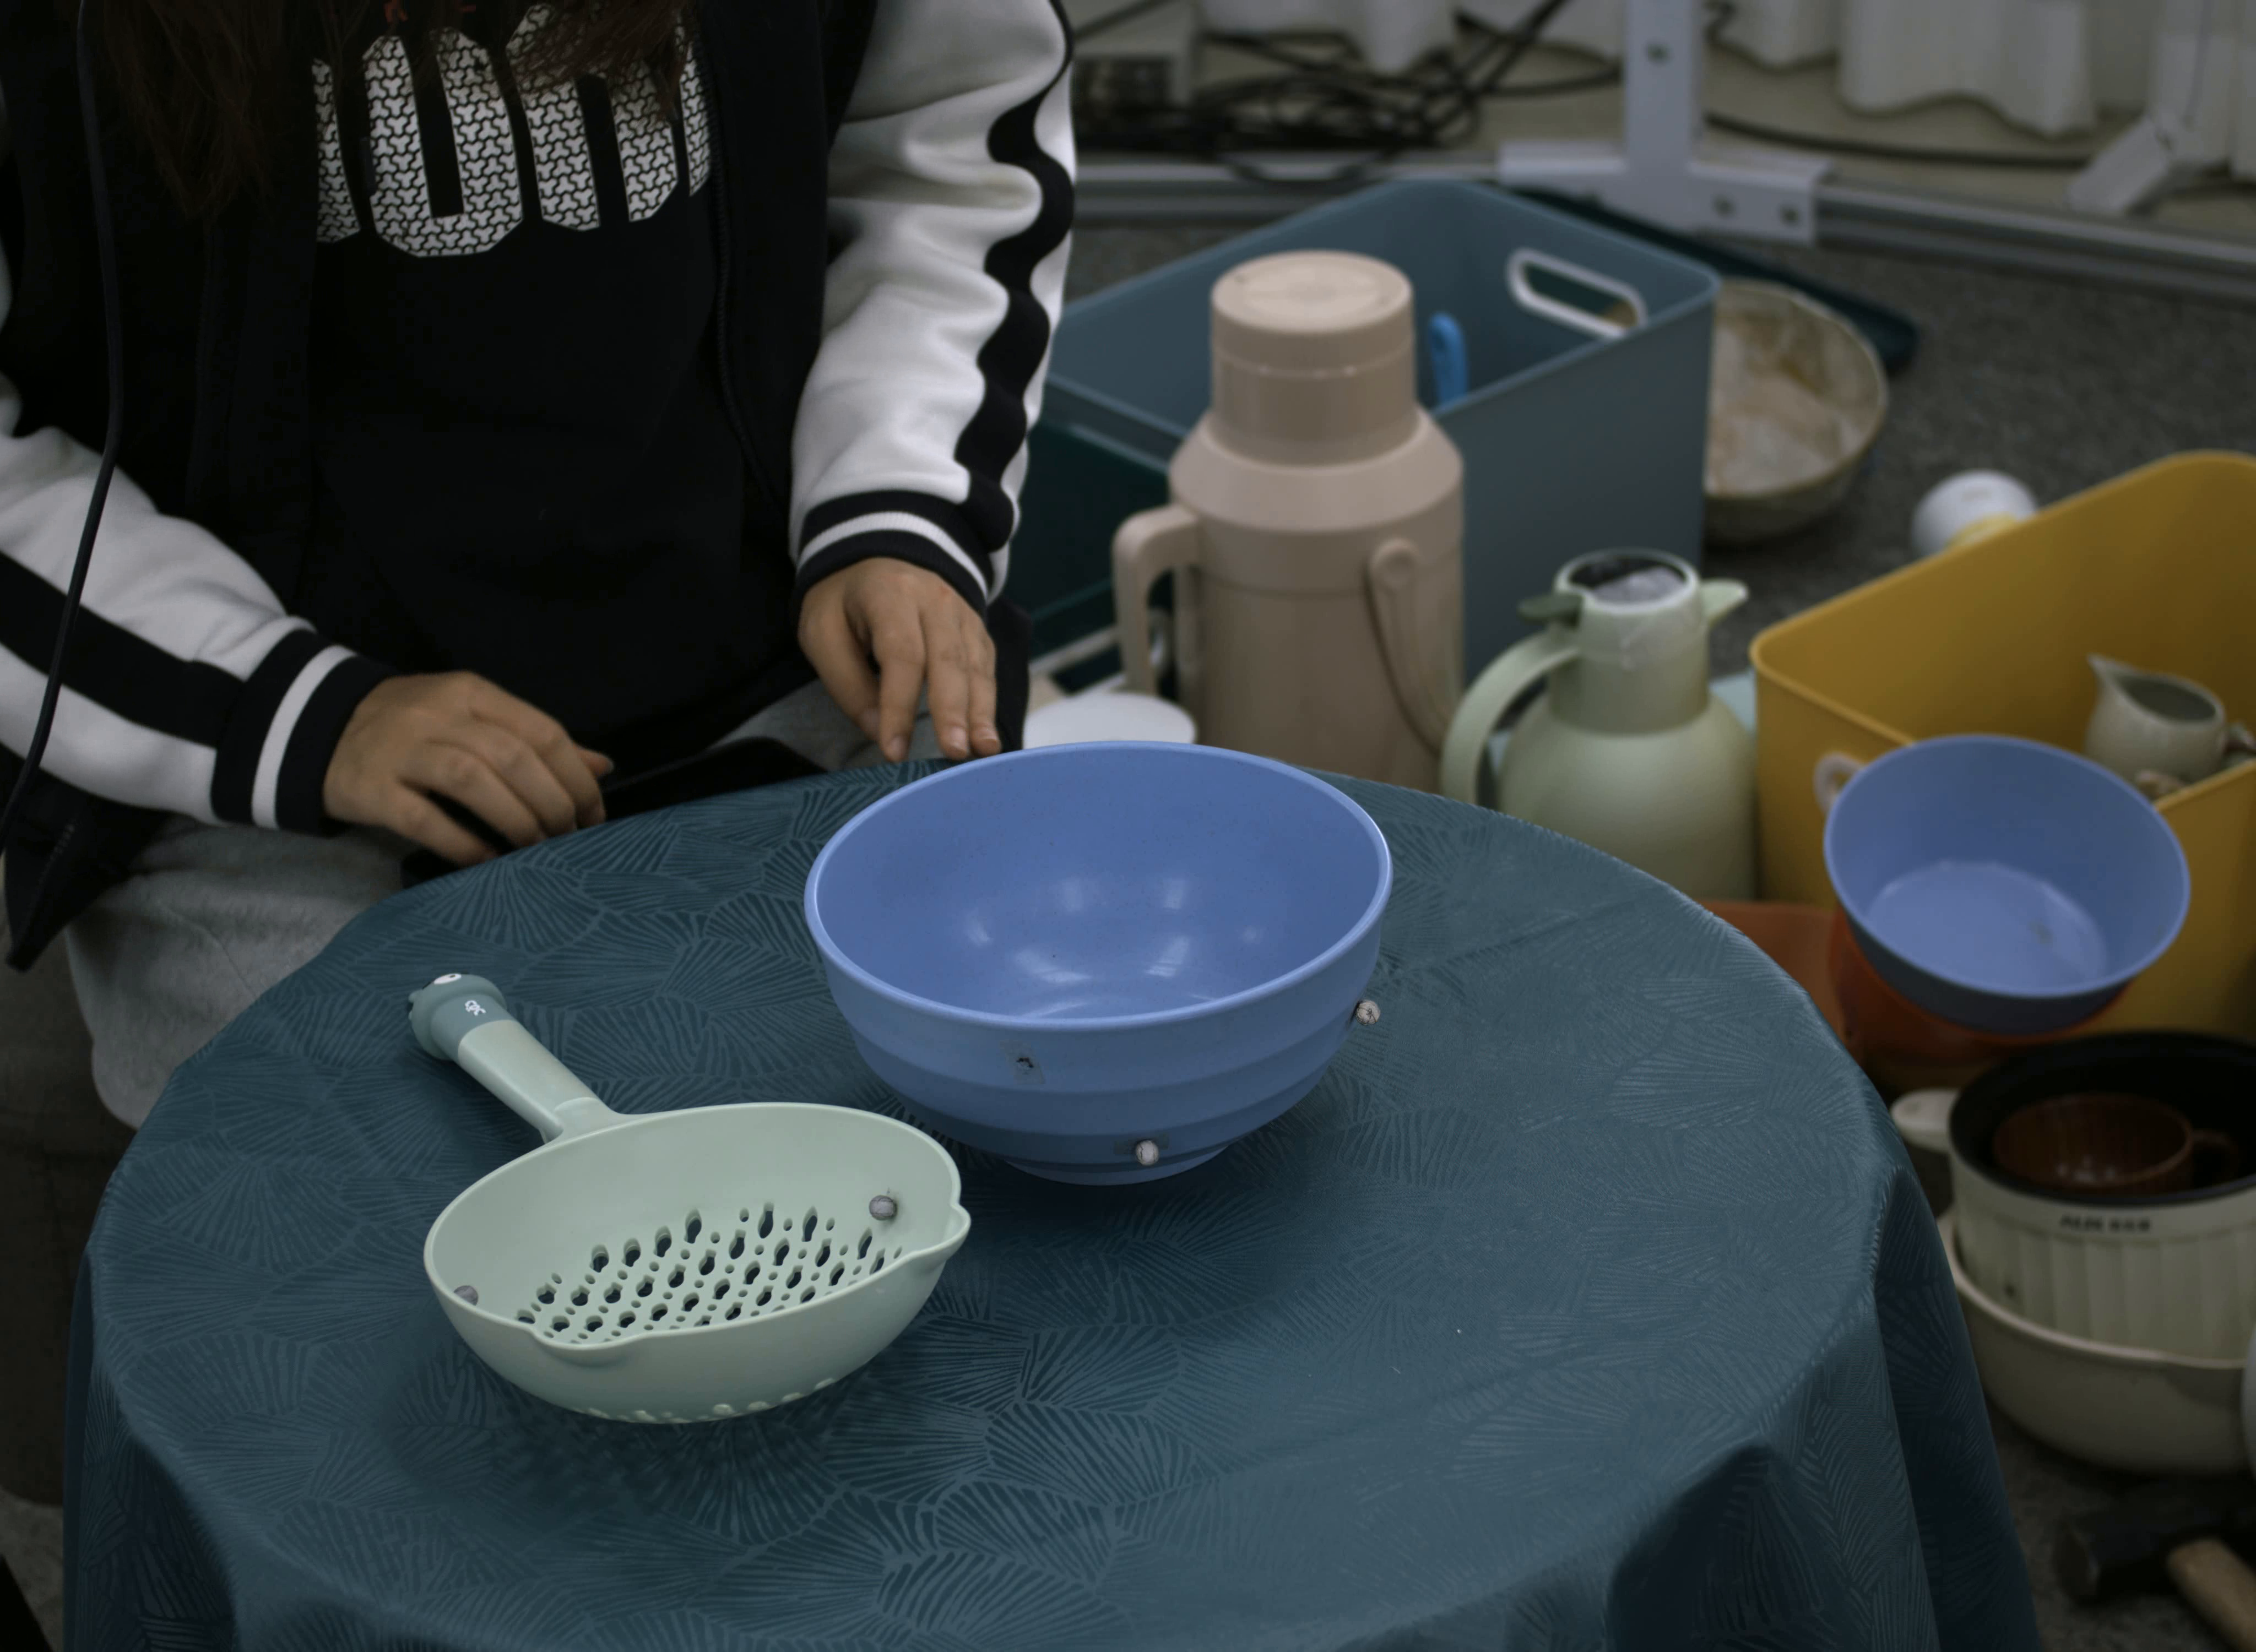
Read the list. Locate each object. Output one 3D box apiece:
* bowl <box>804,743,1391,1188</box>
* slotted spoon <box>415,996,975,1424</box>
[{"bbox_3d":[-0.008,0.058,1.884,0.195,0.094,0.199,-3,27,2],"label":"bowl"},{"bbox_3d":[-0.174,0.109,1.841,0.170,0.074,0.361,-14,27,-22],"label":"slotted spoon"}]
